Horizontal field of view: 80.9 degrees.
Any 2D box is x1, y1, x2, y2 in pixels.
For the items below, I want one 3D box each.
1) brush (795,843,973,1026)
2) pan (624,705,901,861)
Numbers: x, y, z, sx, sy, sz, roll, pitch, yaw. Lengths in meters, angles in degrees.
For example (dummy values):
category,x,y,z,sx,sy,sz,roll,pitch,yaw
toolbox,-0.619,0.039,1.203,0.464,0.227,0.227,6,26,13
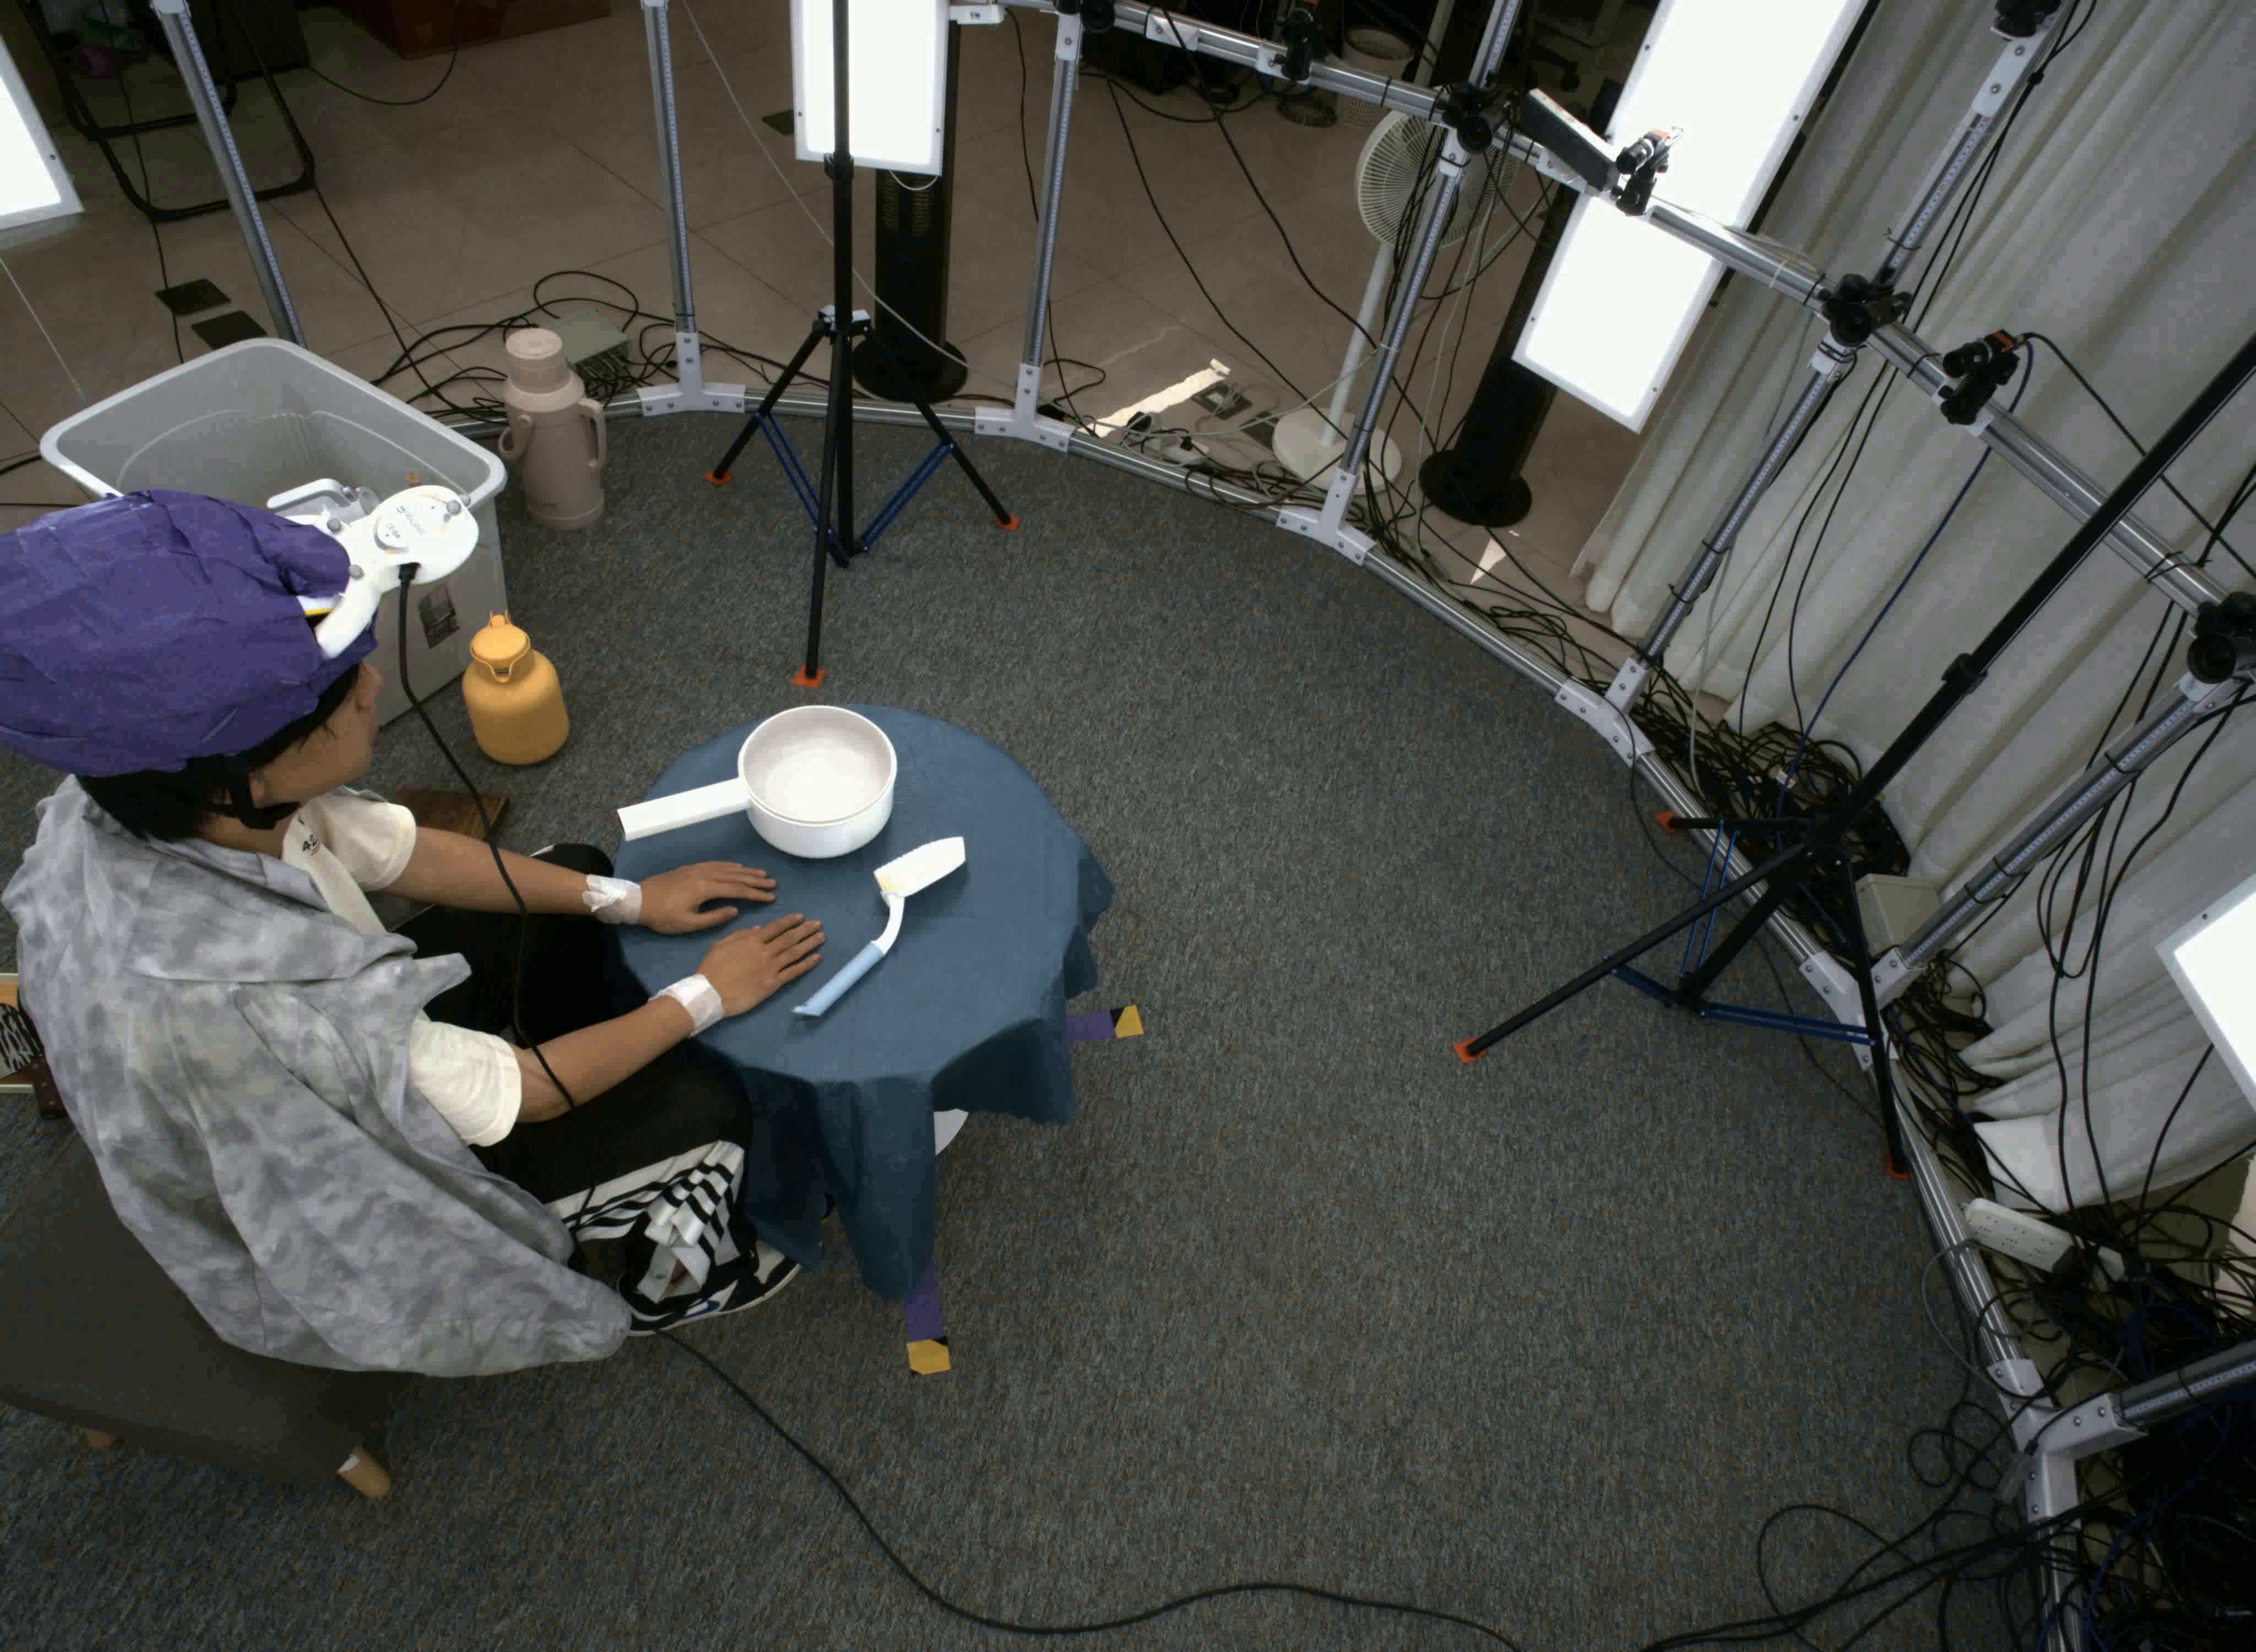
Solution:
category,x,y,z,sx,sy,sz,roll,pitch,yaw
brush,-0.312,0.112,1.619,0.083,0.084,0.325,36,54,11
pan,-0.467,-0.030,1.675,0.356,0.104,0.196,-19,61,-24
